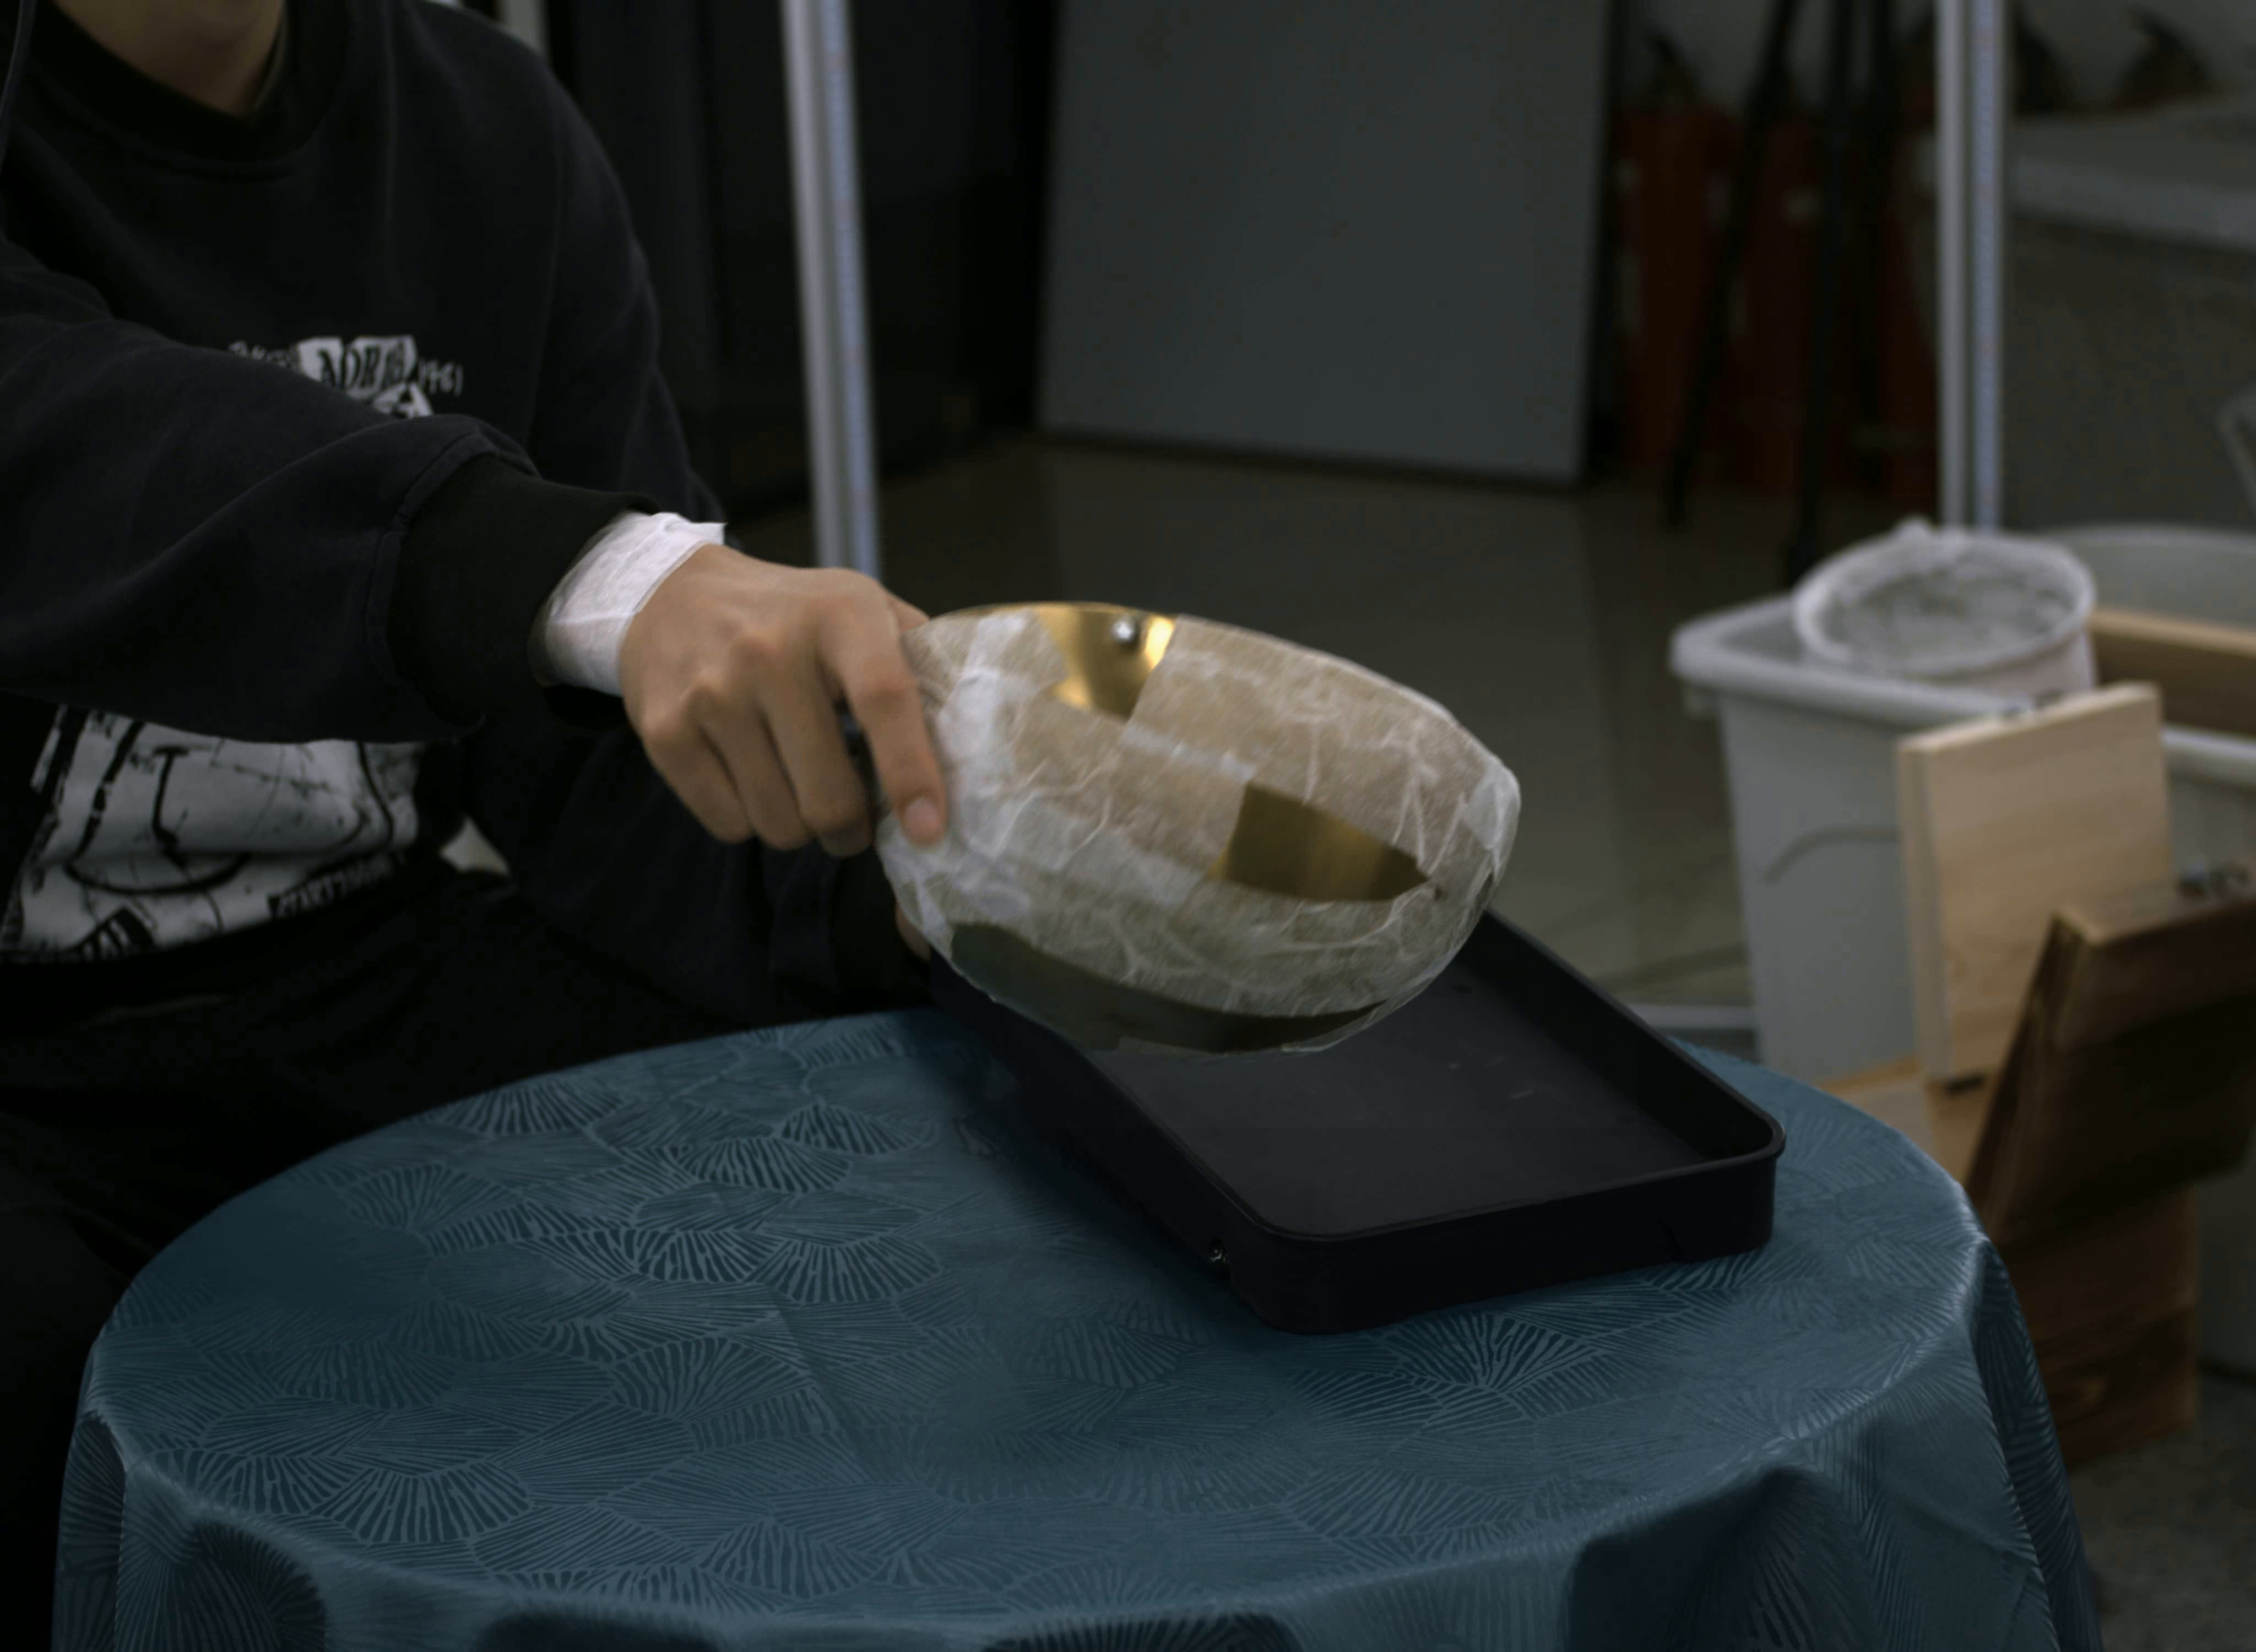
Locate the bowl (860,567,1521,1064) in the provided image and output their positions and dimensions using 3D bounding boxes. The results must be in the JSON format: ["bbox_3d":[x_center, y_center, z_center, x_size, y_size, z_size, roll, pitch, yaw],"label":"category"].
[{"bbox_3d":[0.009,0.014,1.602,0.212,0.095,0.215,12,-22,4],"label":"bowl"}]

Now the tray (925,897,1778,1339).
[{"bbox_3d":[0.066,0.076,1.776,0.180,0.037,0.321,-9,23,-20],"label":"tray"}]
